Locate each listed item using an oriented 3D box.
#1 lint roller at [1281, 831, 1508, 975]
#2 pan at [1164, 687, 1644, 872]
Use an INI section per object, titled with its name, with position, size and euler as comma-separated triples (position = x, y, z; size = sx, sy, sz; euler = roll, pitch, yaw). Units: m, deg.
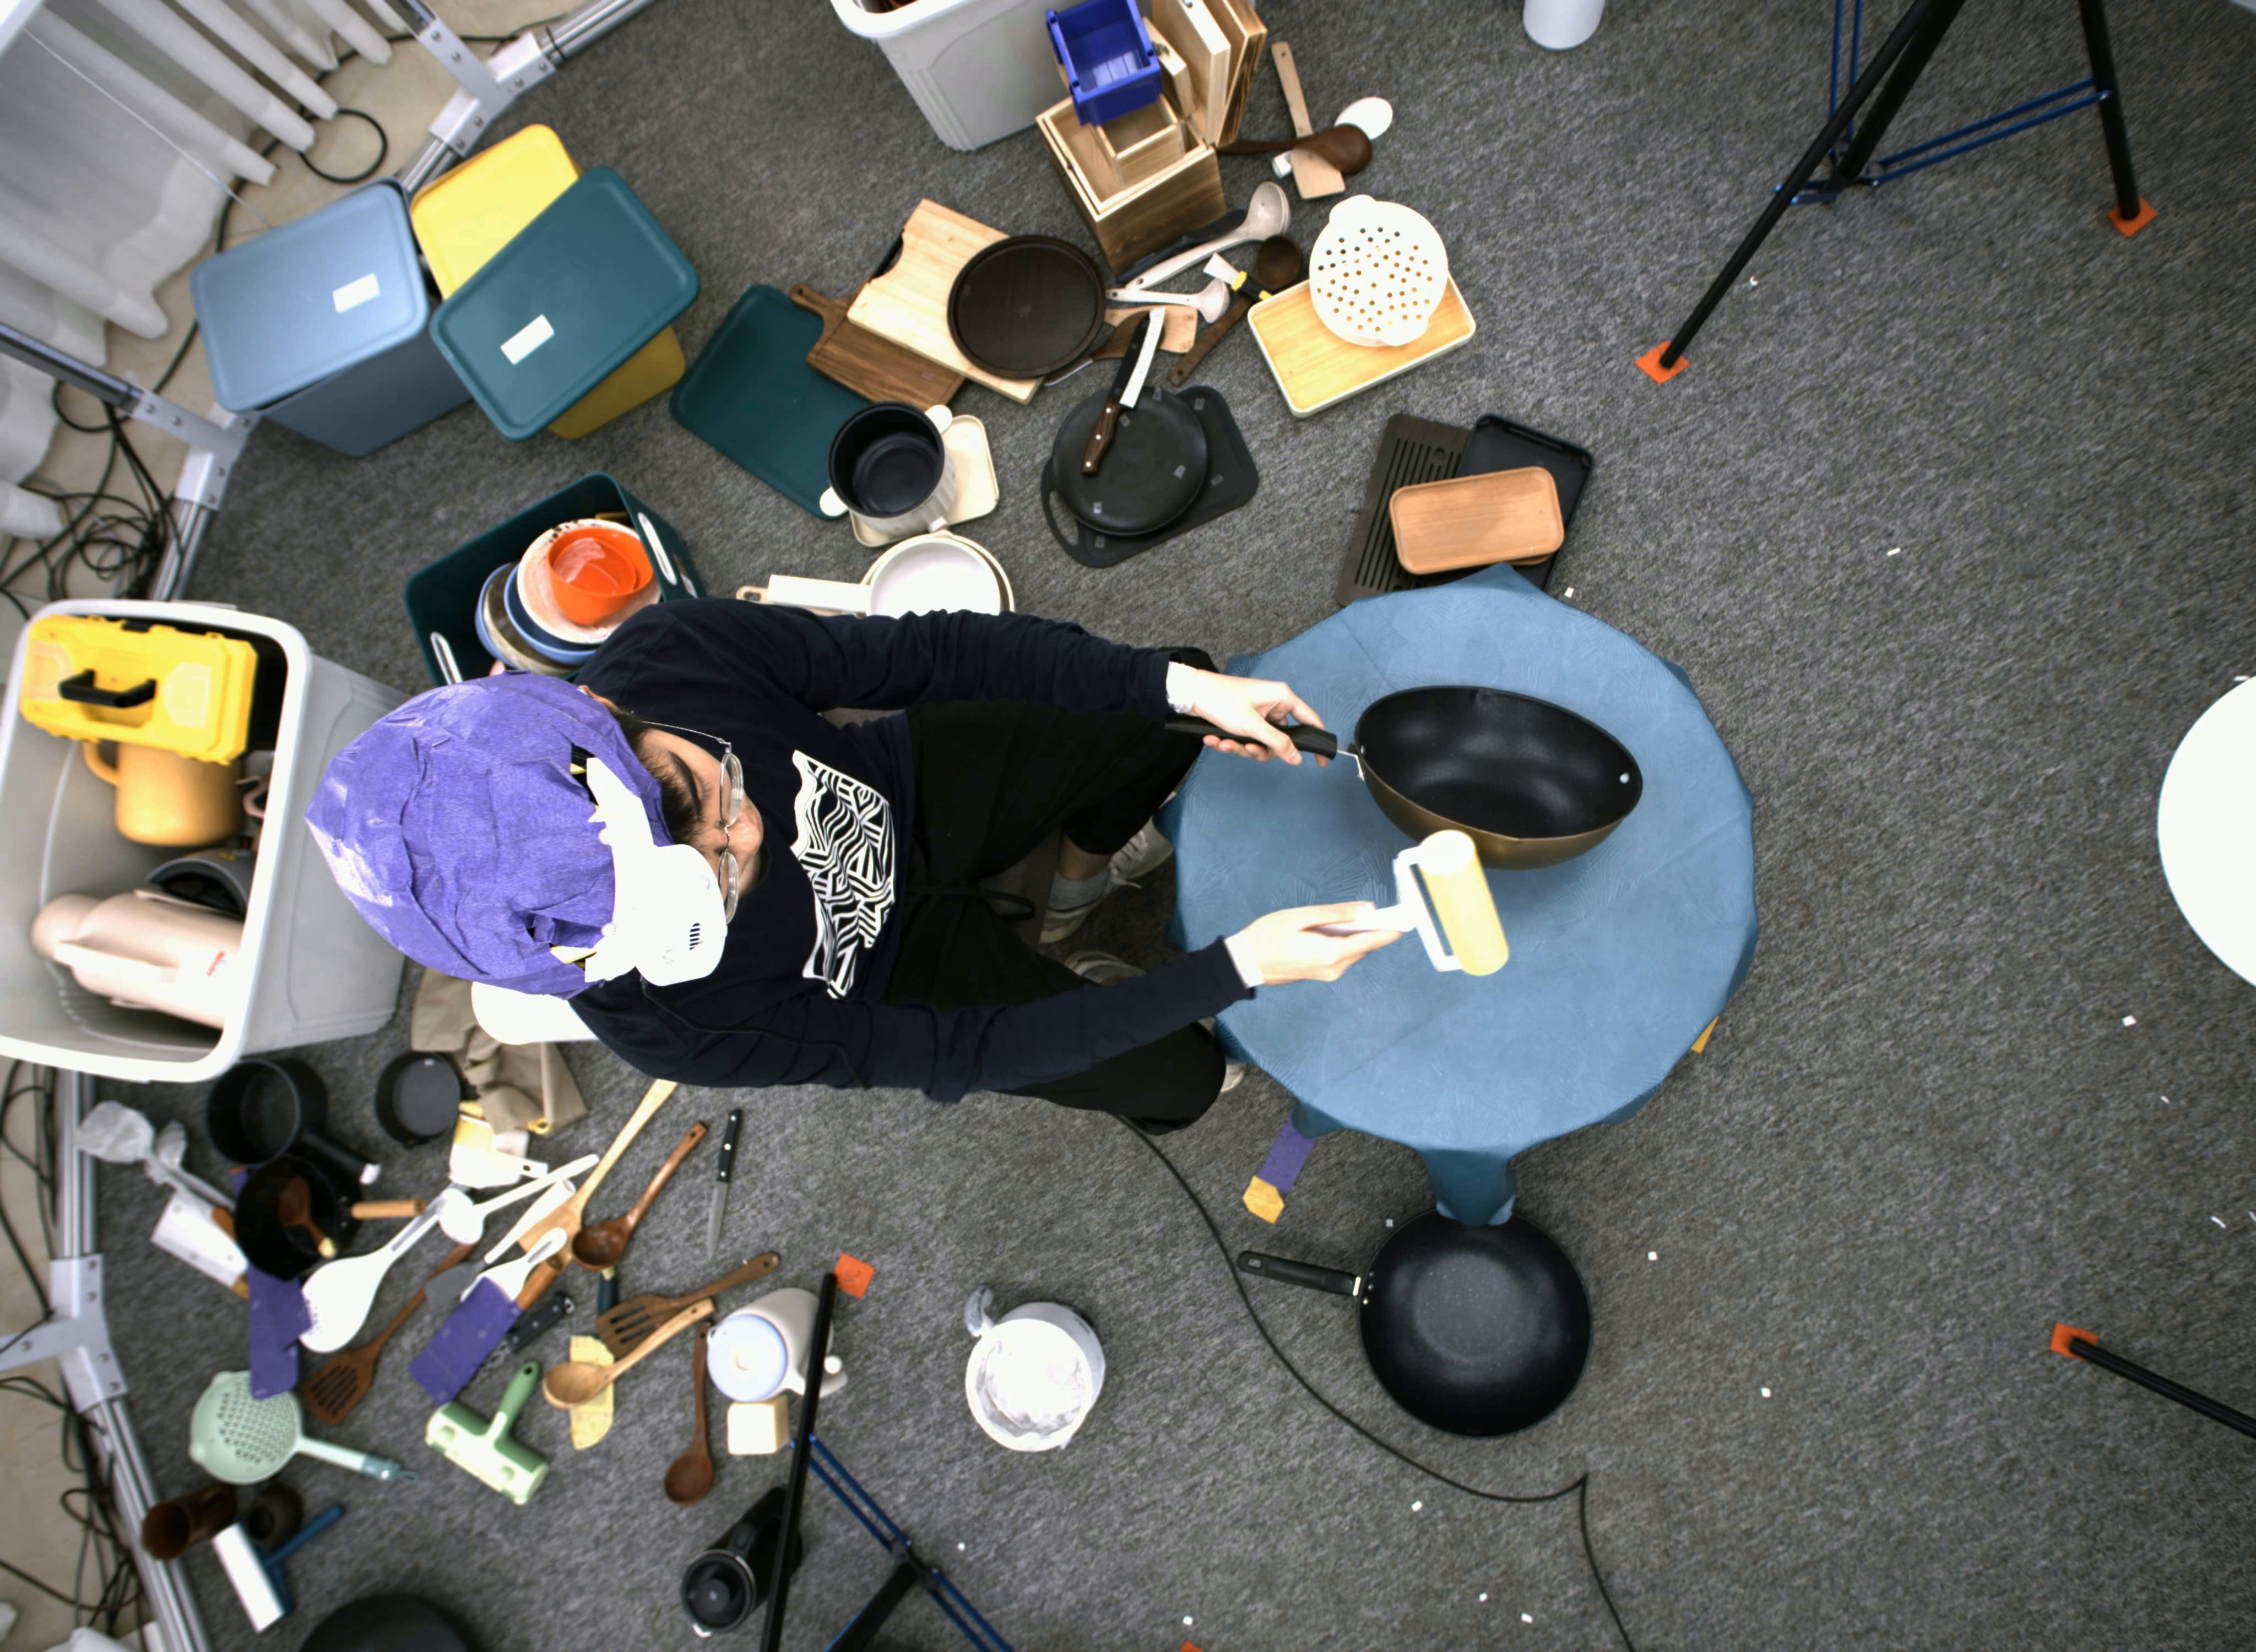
[lint roller]
position = 0.231, 0.093, 1.250
size = 0.194, 0.177, 0.050
euler = -20, 45, 16
[pan]
position = 0.263, -0.049, 1.353
size = 0.464, 0.280, 0.089
euler = 6, 125, 3
